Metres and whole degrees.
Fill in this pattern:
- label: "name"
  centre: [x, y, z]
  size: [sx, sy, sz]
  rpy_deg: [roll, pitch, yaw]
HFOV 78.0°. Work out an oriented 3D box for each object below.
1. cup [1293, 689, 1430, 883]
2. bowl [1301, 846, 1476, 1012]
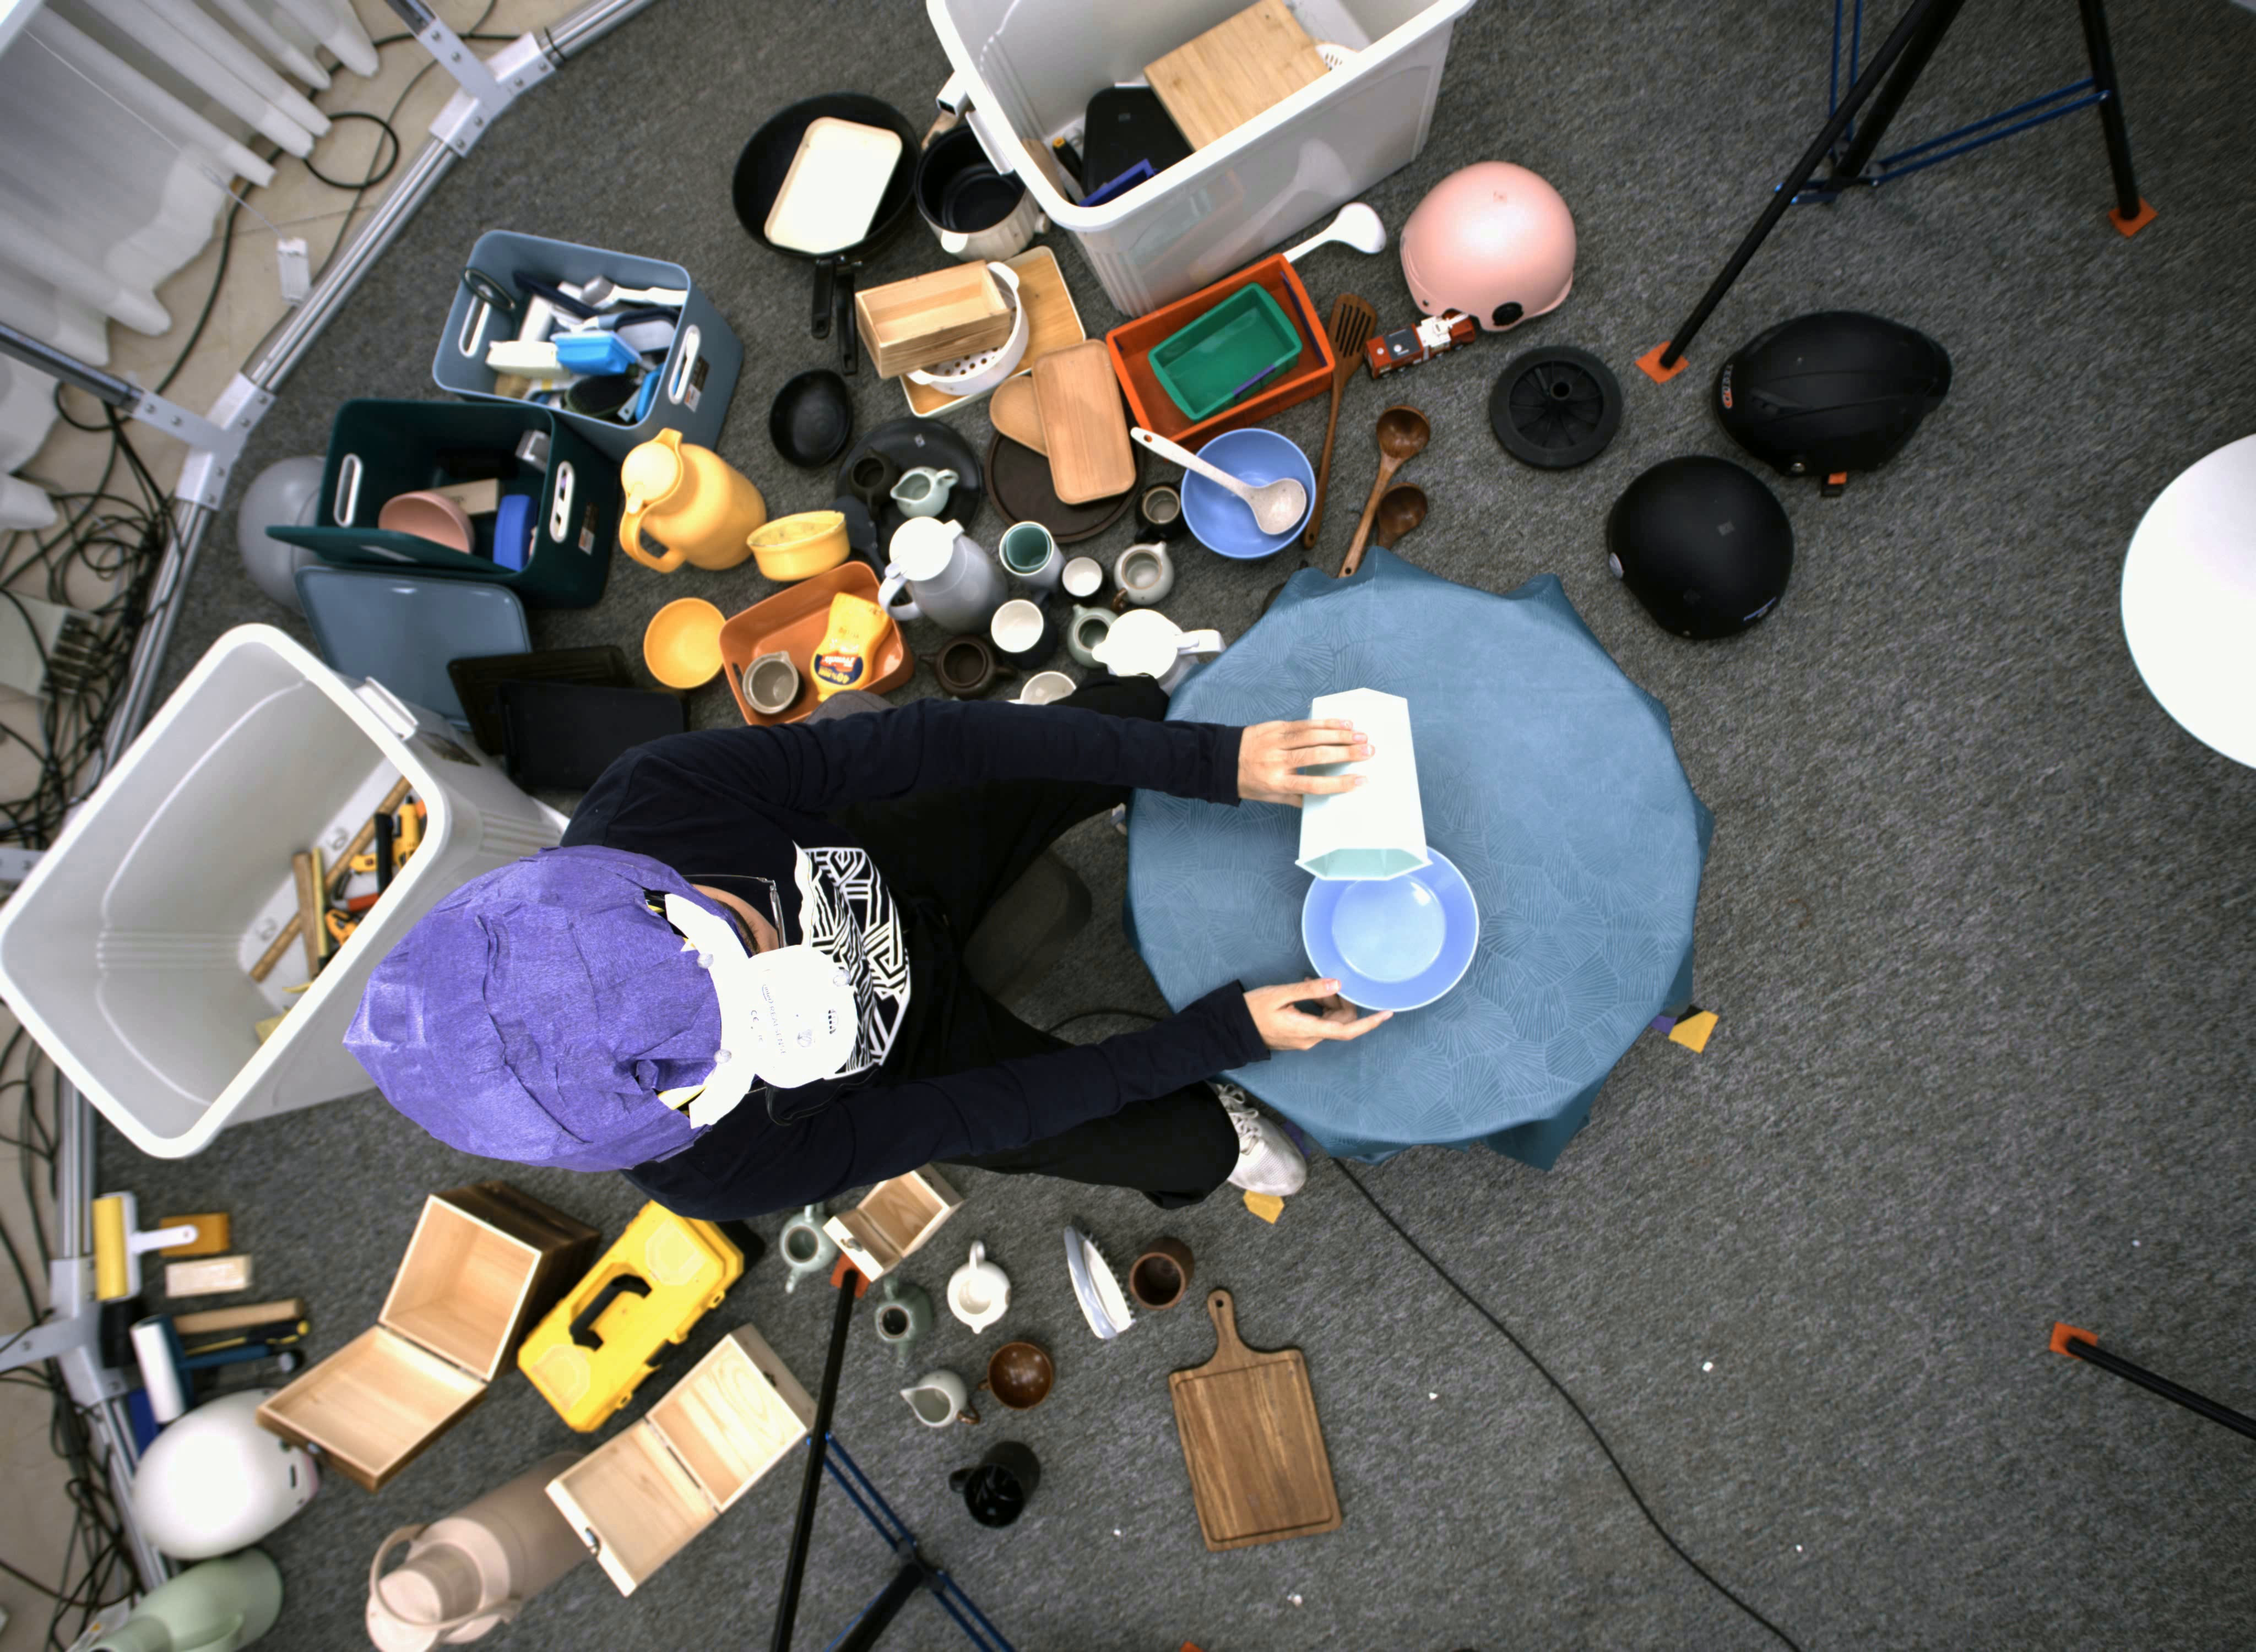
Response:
- label: "cup"
  centre: [0.225, -0.040, 1.339]
  size: [0.116, 0.131, 0.160]
  rpy_deg: [-9, 70, 33]
- label: "bowl"
  centre: [0.267, 0.101, 1.422]
  size: [0.177, 0.070, 0.175]
  rpy_deg: [-1, 87, 11]
